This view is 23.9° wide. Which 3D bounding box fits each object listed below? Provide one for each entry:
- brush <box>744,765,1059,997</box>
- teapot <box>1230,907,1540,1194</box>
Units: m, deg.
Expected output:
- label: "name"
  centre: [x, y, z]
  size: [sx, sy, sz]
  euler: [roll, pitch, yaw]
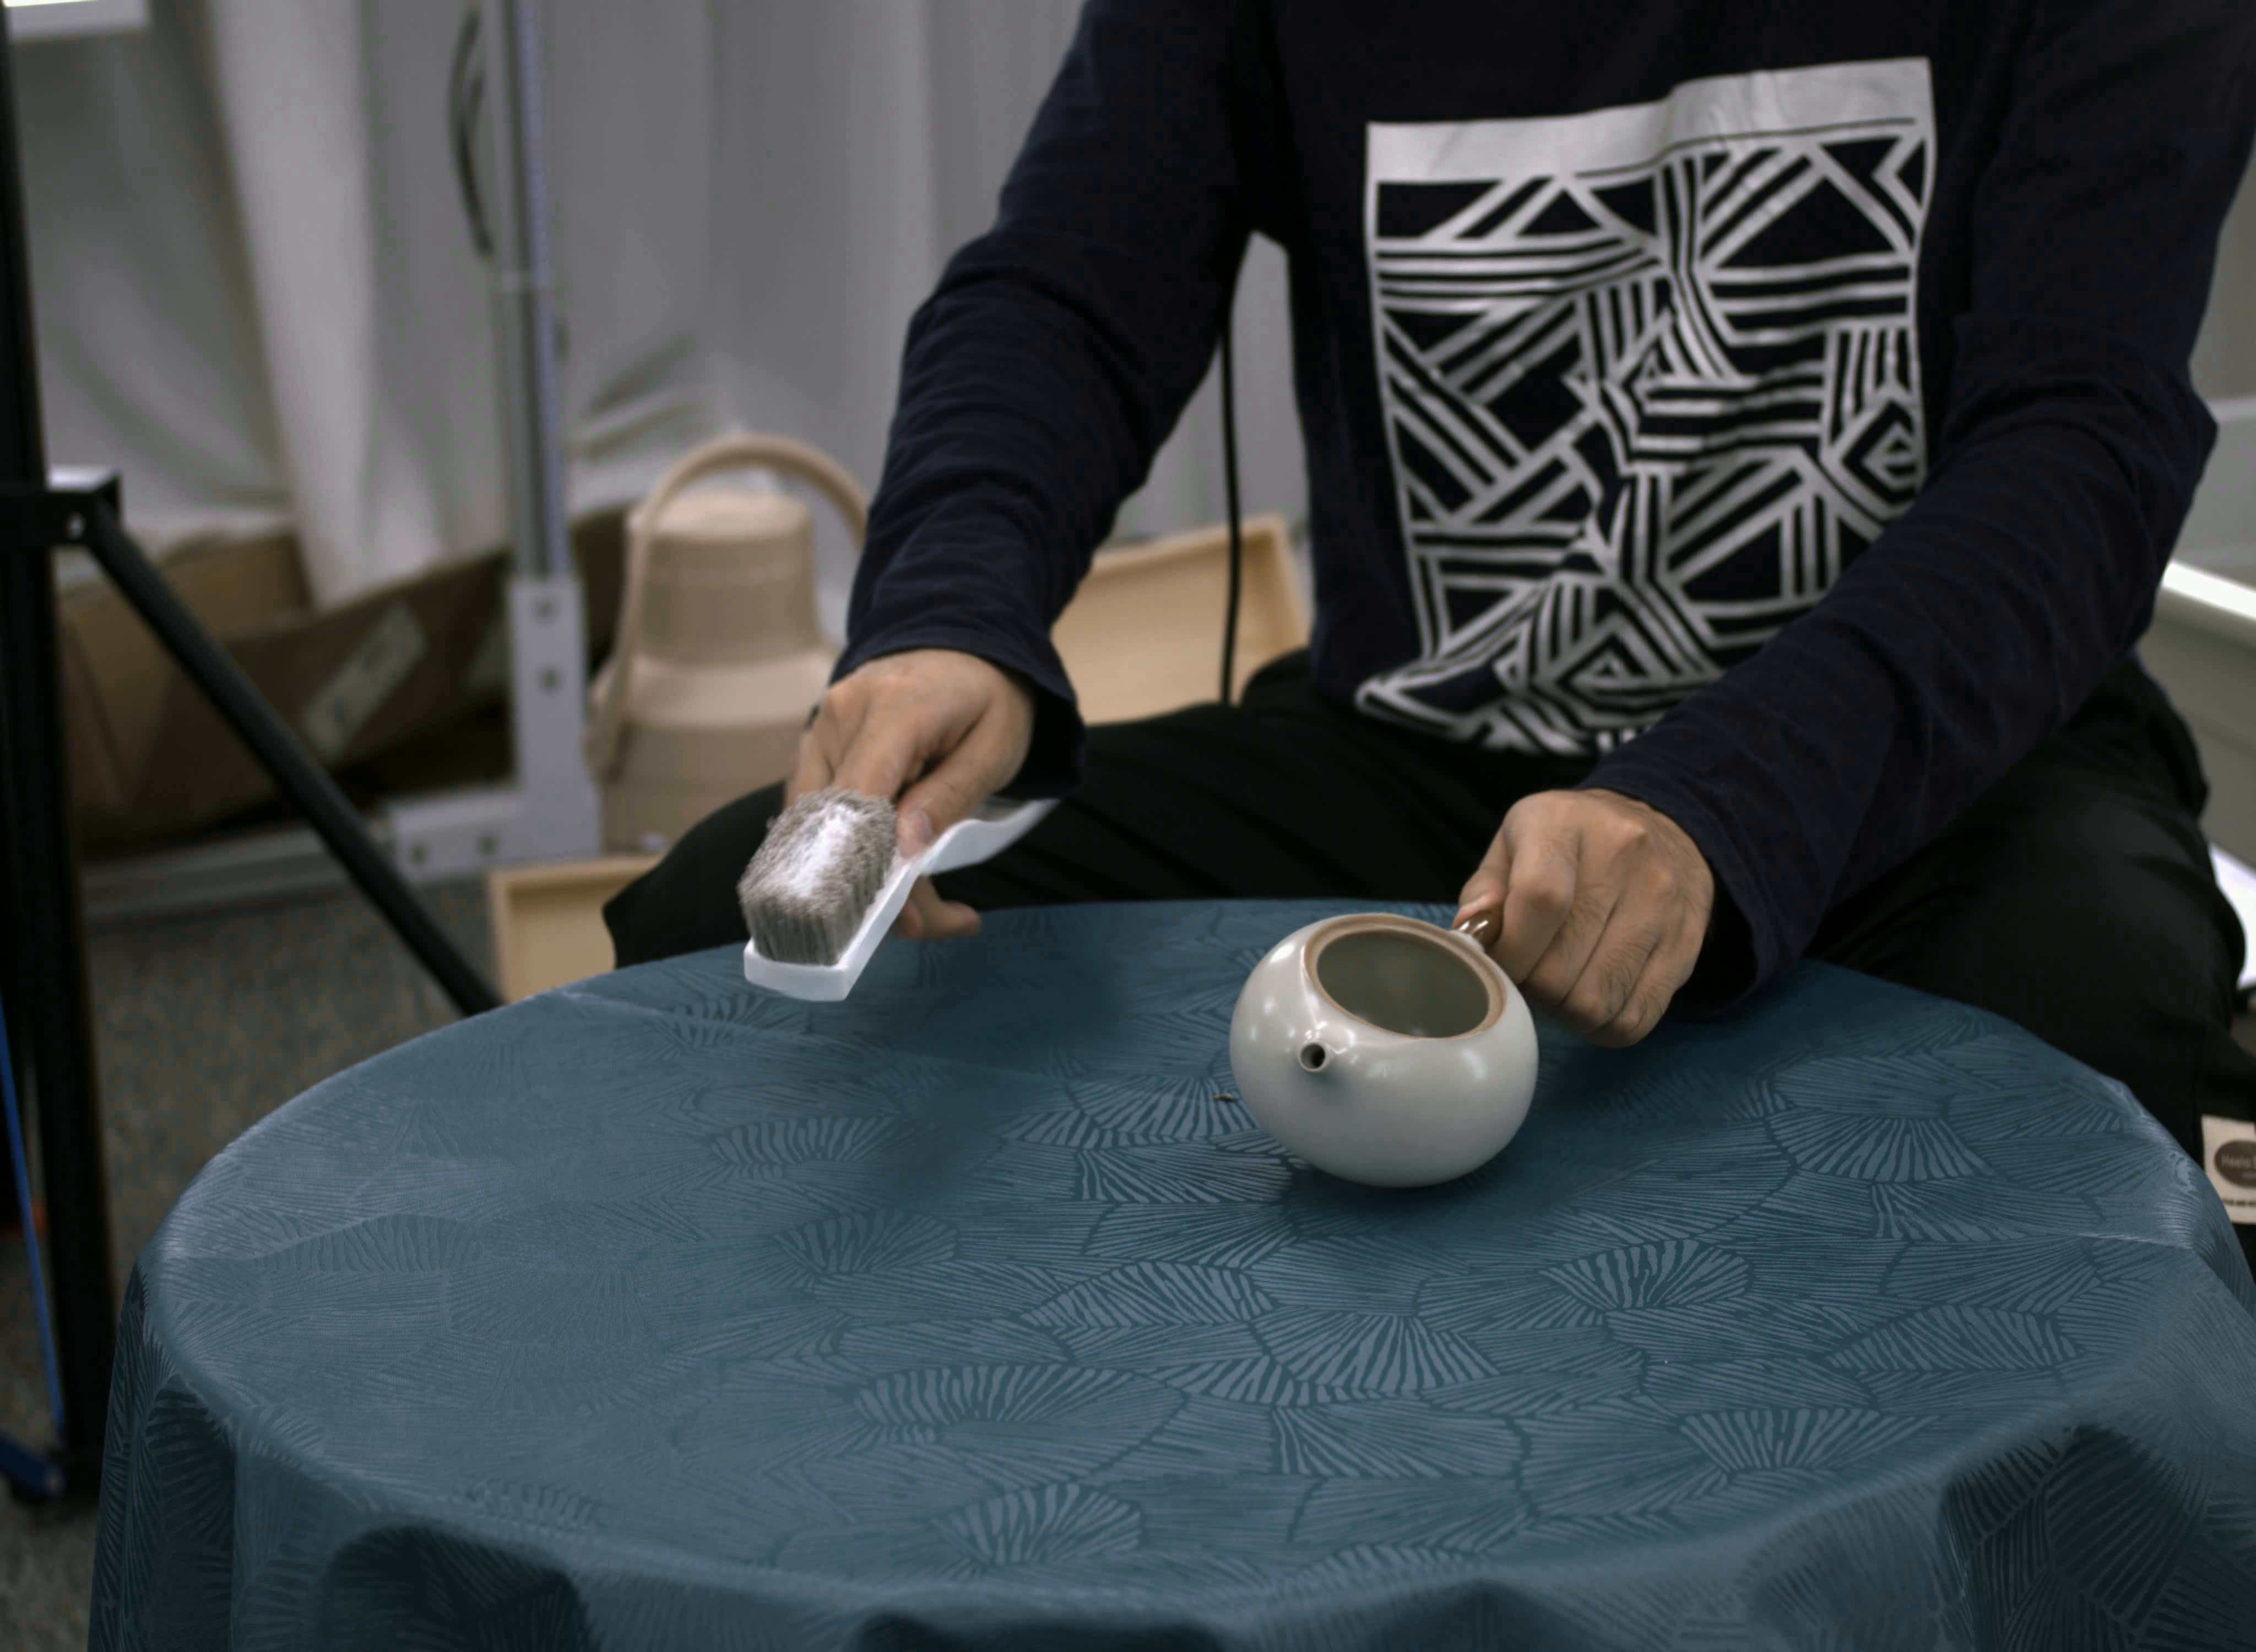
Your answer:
- label: "brush"
  centre: [-0.065, -0.003, 1.662]
  size: [0.035, 0.050, 0.241]
  euler: [12, 19, 15]
- label: "teapot"
  centre: [0.081, 0.064, 1.565]
  size: [0.093, 0.059, 0.126]
  euler: [26, 35, 21]
